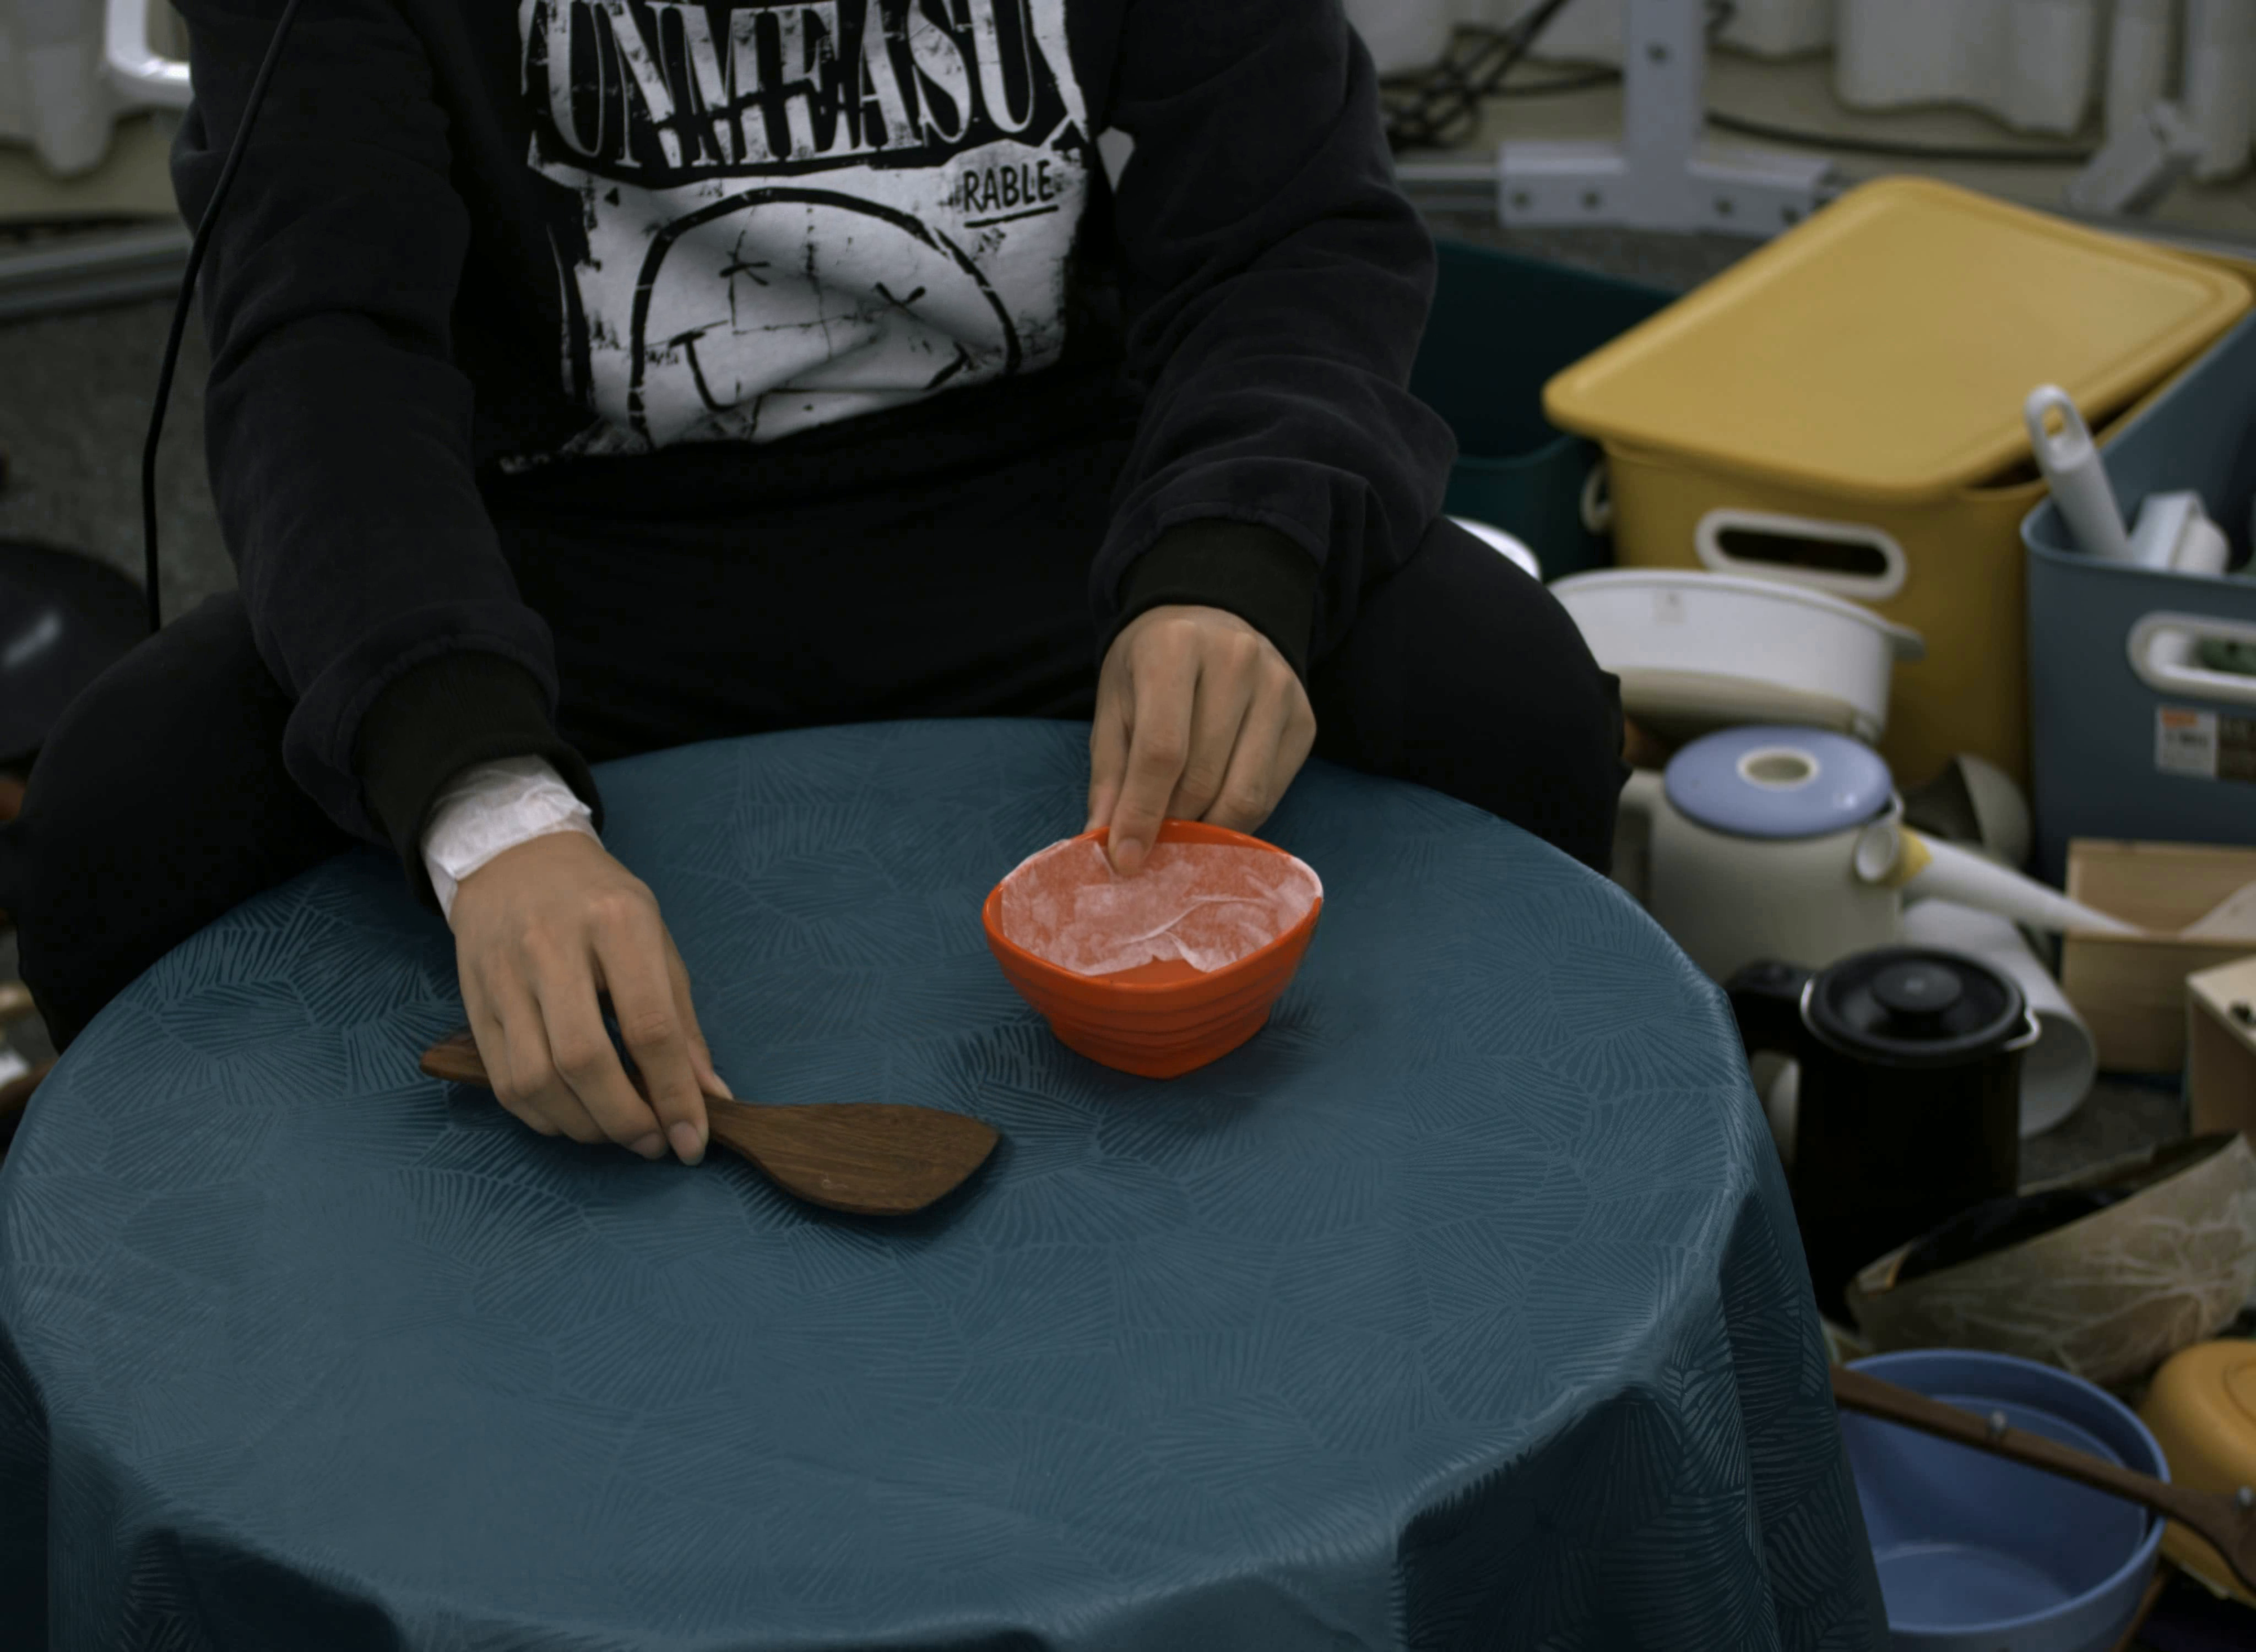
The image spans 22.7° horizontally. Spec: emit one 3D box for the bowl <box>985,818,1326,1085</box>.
[{"bbox_3d":[0.011,0.048,1.949,0.118,0.051,0.121,-3,30,2],"label":"bowl"}]

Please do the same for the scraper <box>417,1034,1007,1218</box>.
[{"bbox_3d":[-0.145,0.098,1.898,0.210,0.011,0.077,12,26,21],"label":"scraper"}]
